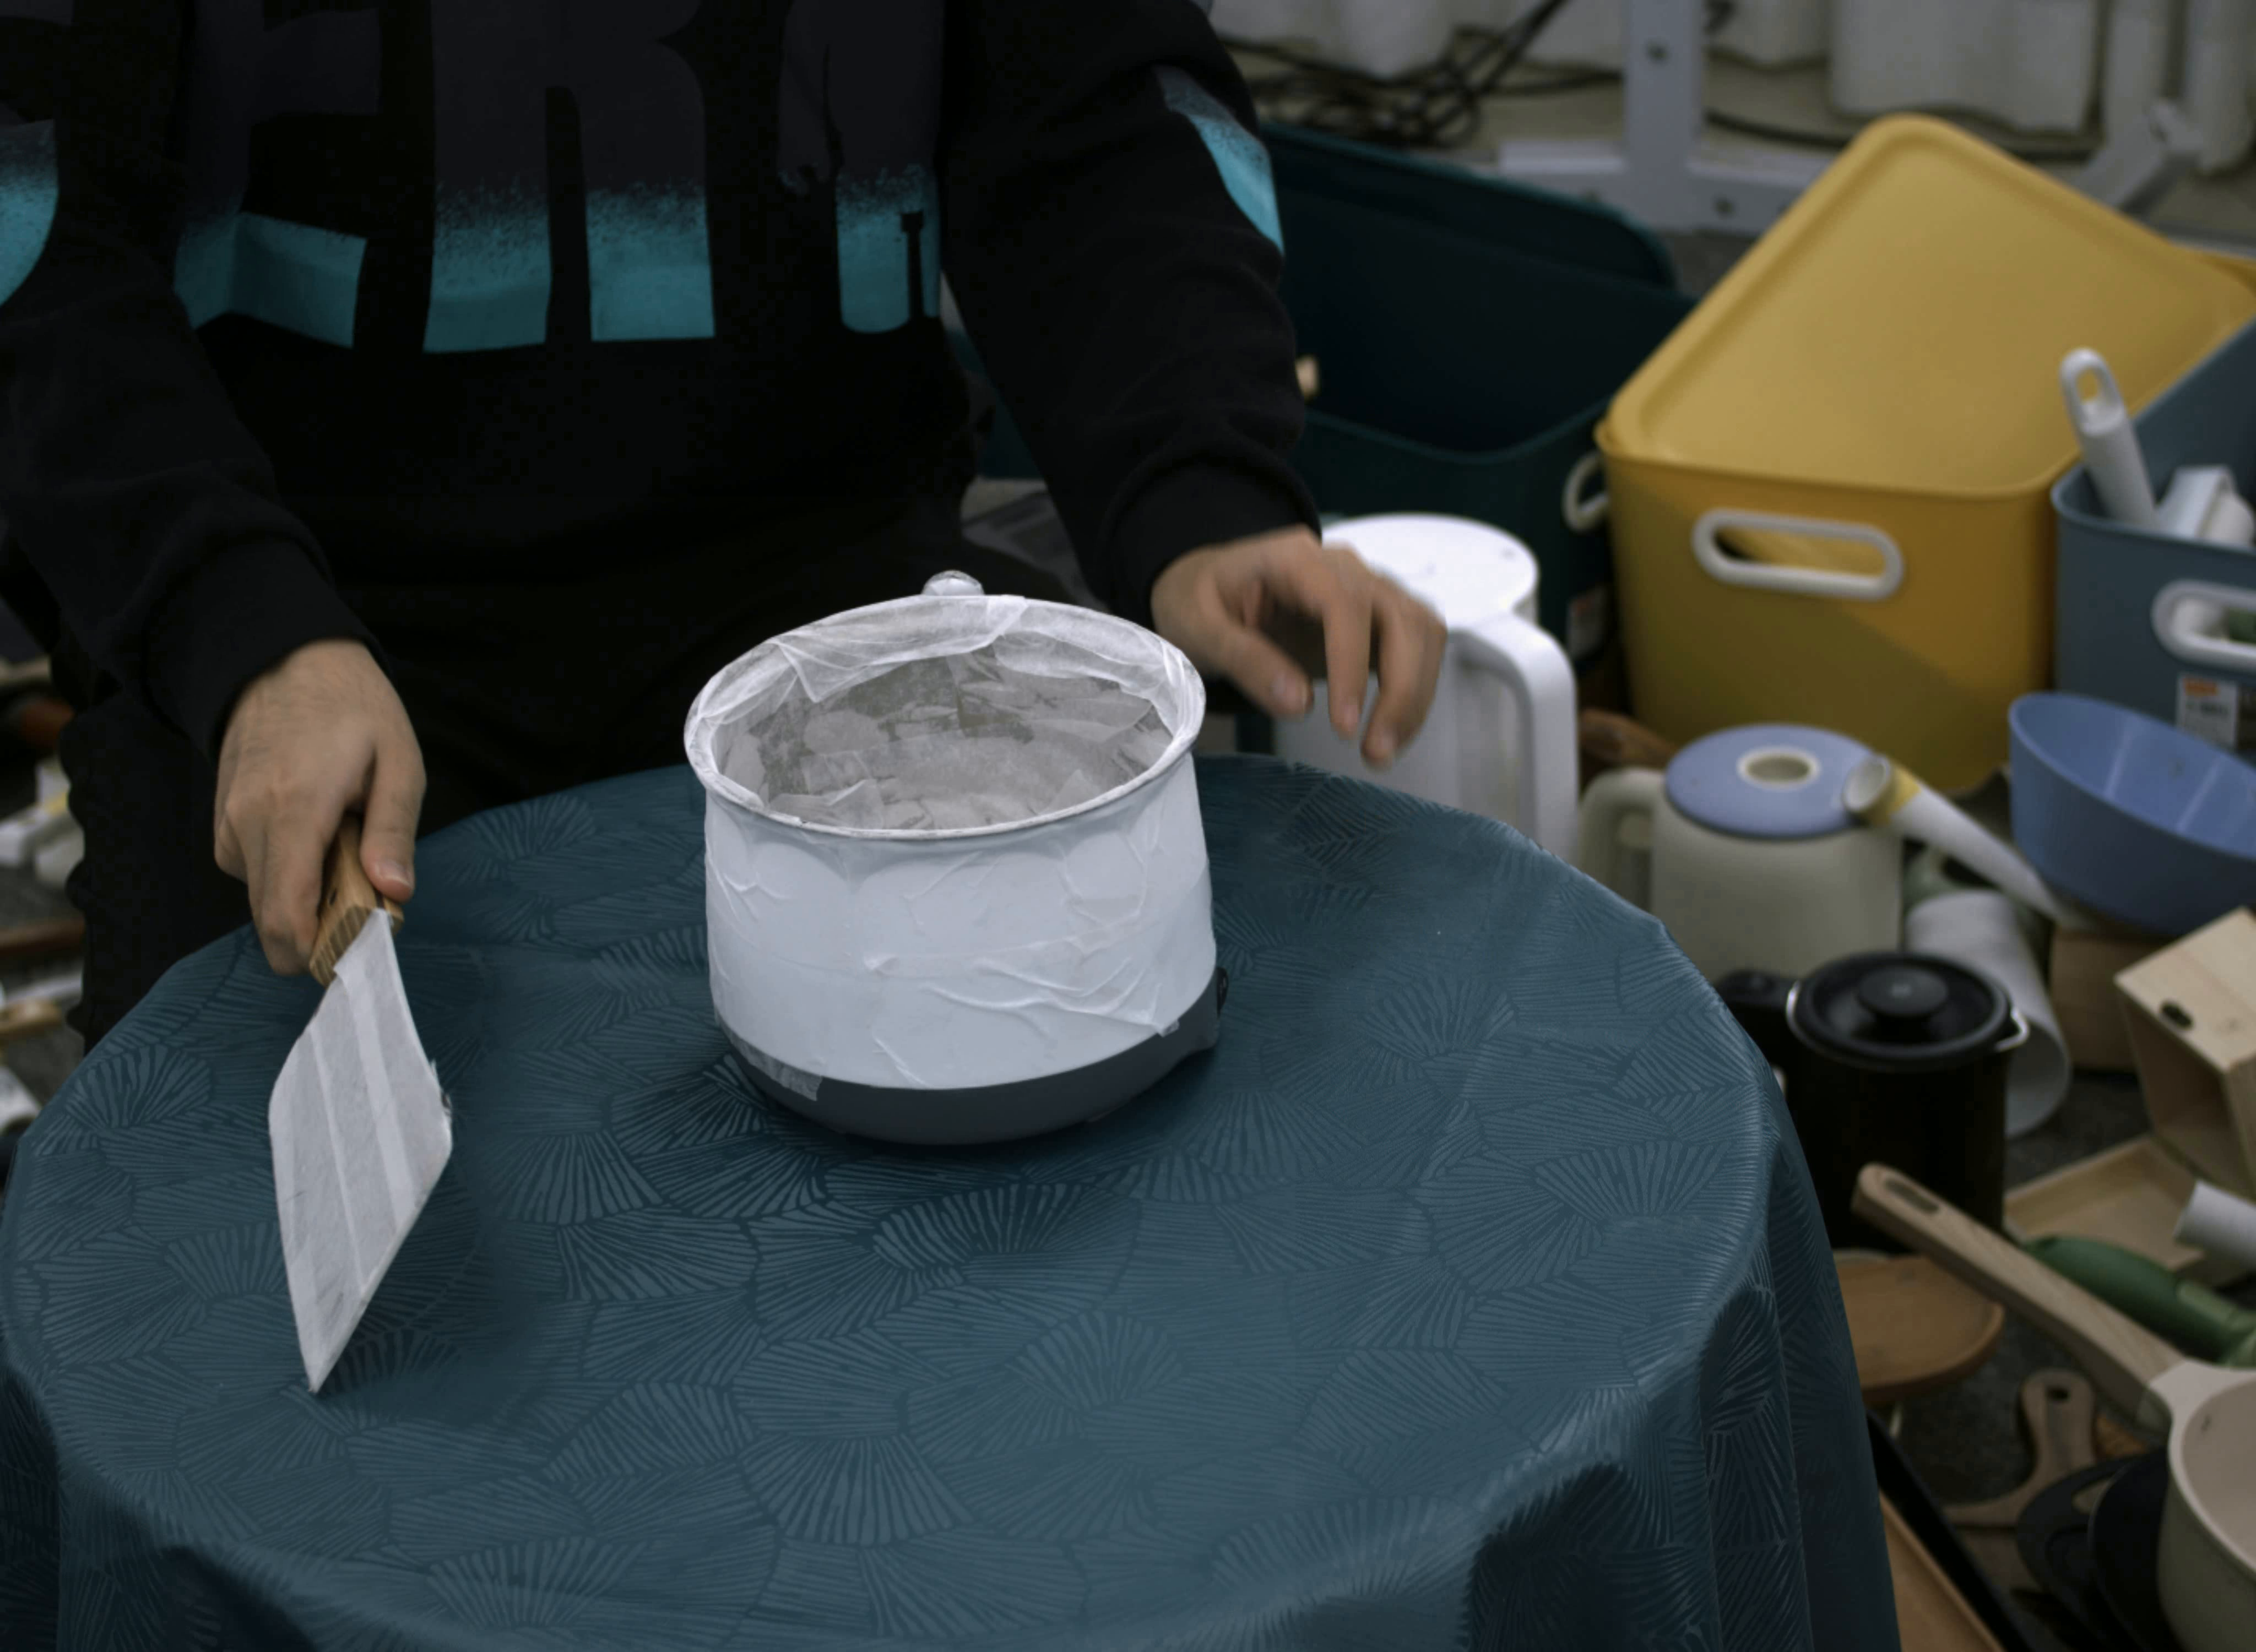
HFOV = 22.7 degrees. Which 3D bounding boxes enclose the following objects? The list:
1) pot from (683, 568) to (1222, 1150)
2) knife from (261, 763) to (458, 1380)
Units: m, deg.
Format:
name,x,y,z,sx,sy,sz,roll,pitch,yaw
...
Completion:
name,x,y,z,sx,sy,sz,roll,pitch,yaw
pot,-0.059,0.004,1.947,0.178,0.135,0.237,-3,28,-1
knife,-0.263,0.068,1.890,0.021,0.113,0.319,25,22,-24
